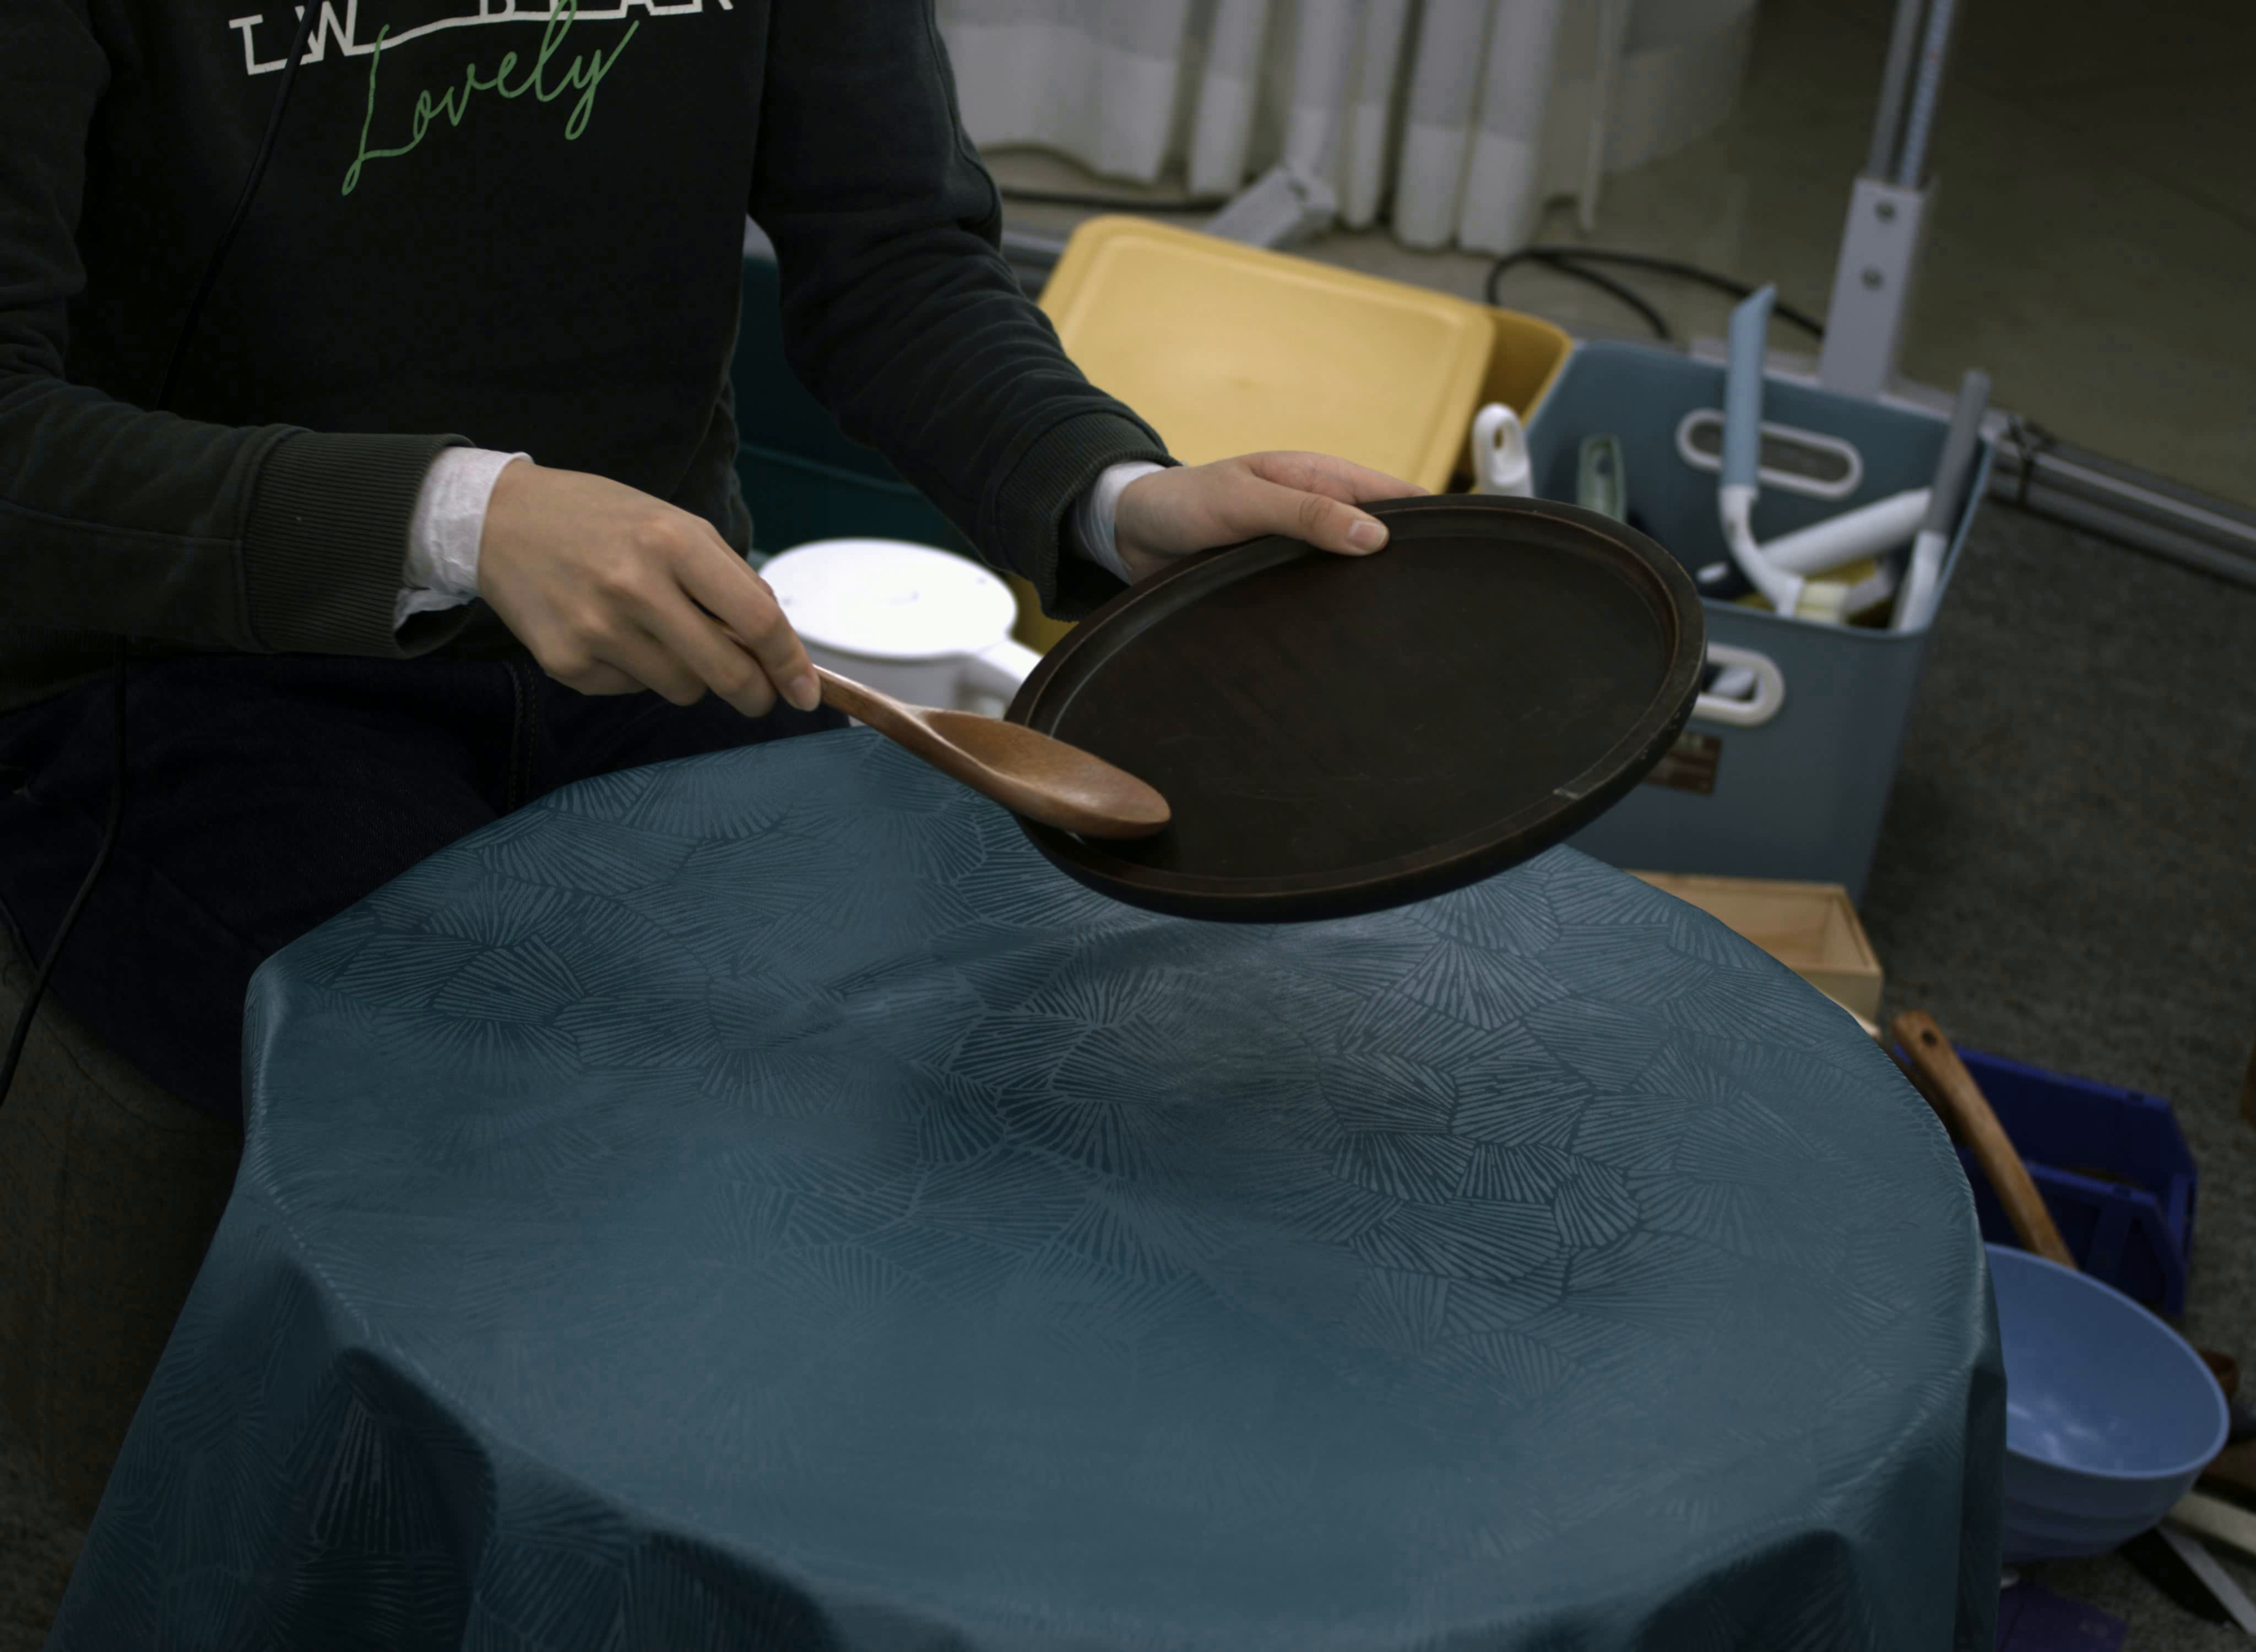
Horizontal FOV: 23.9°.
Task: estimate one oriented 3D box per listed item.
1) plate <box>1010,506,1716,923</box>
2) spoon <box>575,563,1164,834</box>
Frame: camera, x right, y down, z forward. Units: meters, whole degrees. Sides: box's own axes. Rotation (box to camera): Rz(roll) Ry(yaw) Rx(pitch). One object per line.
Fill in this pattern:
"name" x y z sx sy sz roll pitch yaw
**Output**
"plate" 0.080 -0.041 1.854 0.254 0.029 0.256 -11 31 6
"spoon" -0.089 -0.042 1.812 0.215 0.017 0.075 23 17 3
